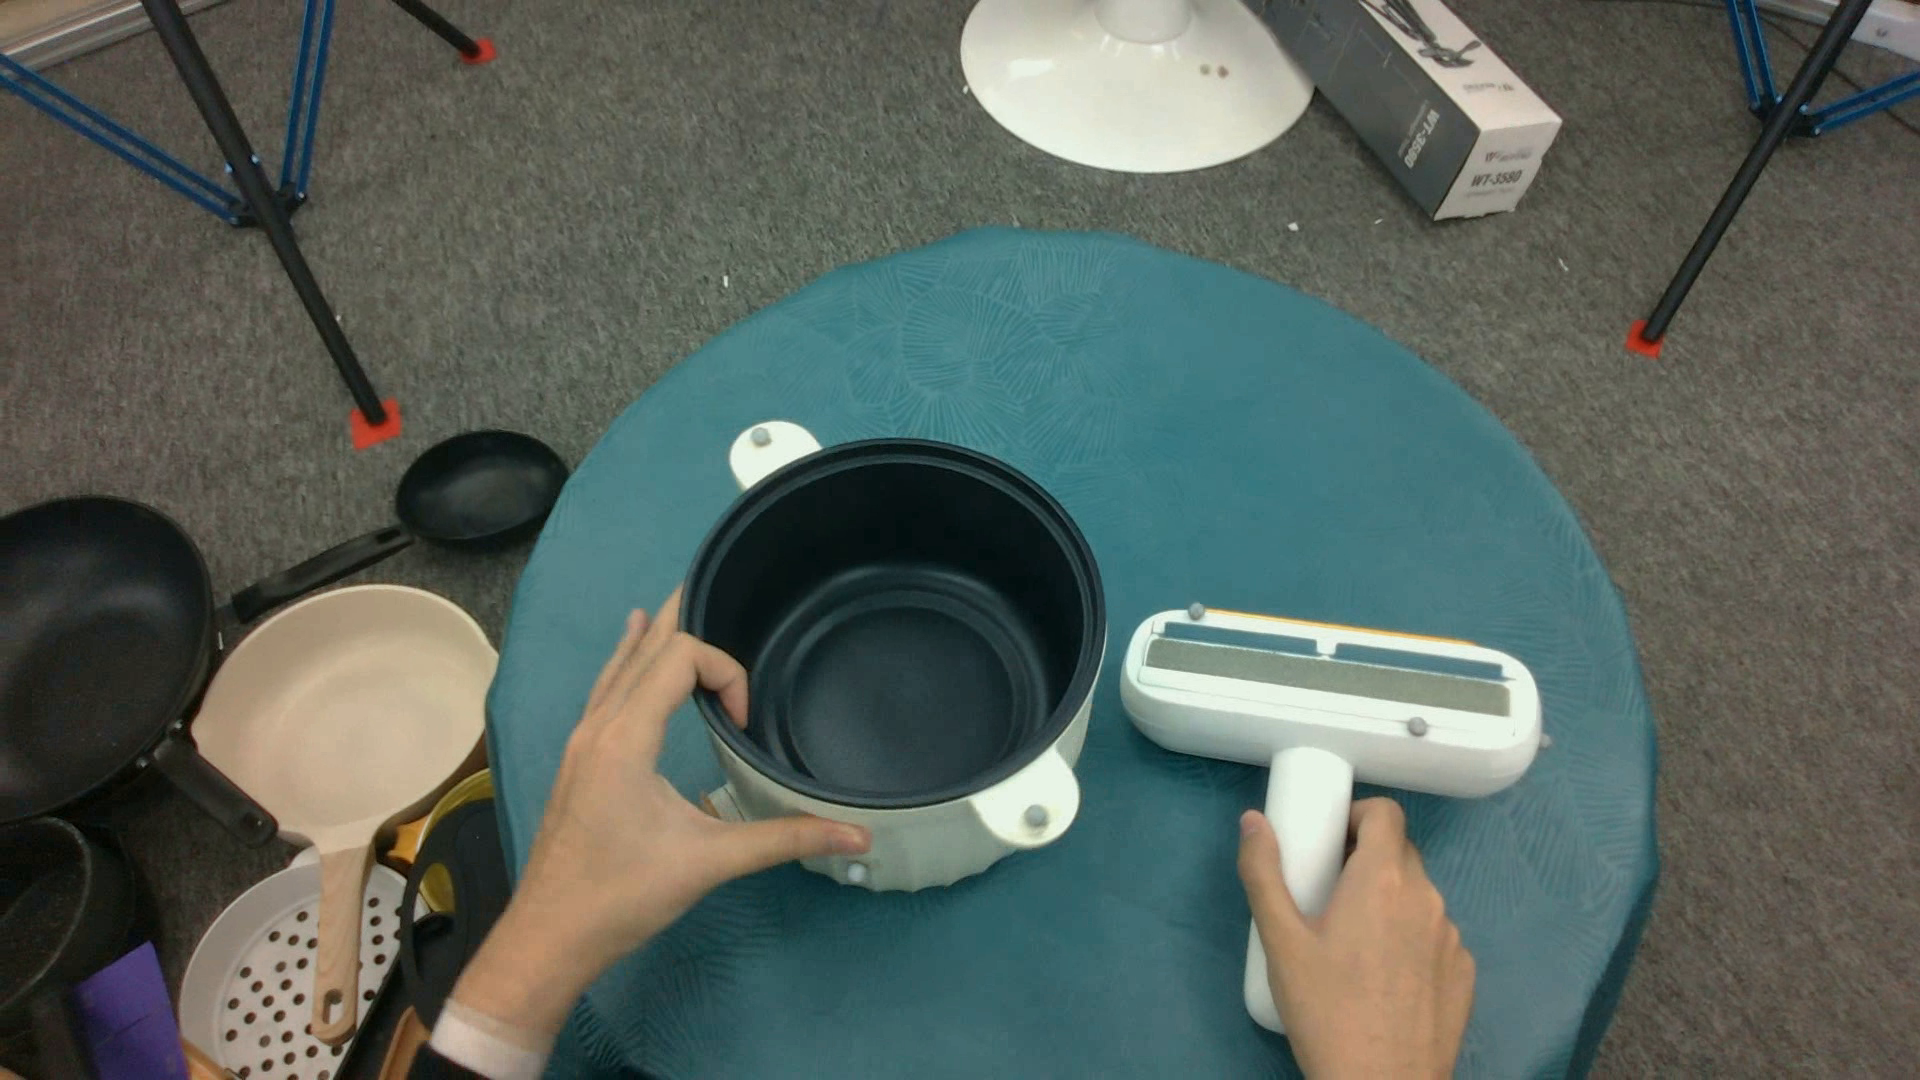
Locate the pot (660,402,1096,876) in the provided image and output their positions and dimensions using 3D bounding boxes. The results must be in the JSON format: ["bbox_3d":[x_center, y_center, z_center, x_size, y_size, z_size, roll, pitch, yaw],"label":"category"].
[{"bbox_3d":[-0.040,0.061,0.631,0.191,0.142,0.241,-26,59,-20],"label":"pot"}]

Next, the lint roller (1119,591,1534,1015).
[{"bbox_3d":[0.156,0.121,0.641,0.192,0.074,0.193,12,57,15],"label":"lint roller"}]
